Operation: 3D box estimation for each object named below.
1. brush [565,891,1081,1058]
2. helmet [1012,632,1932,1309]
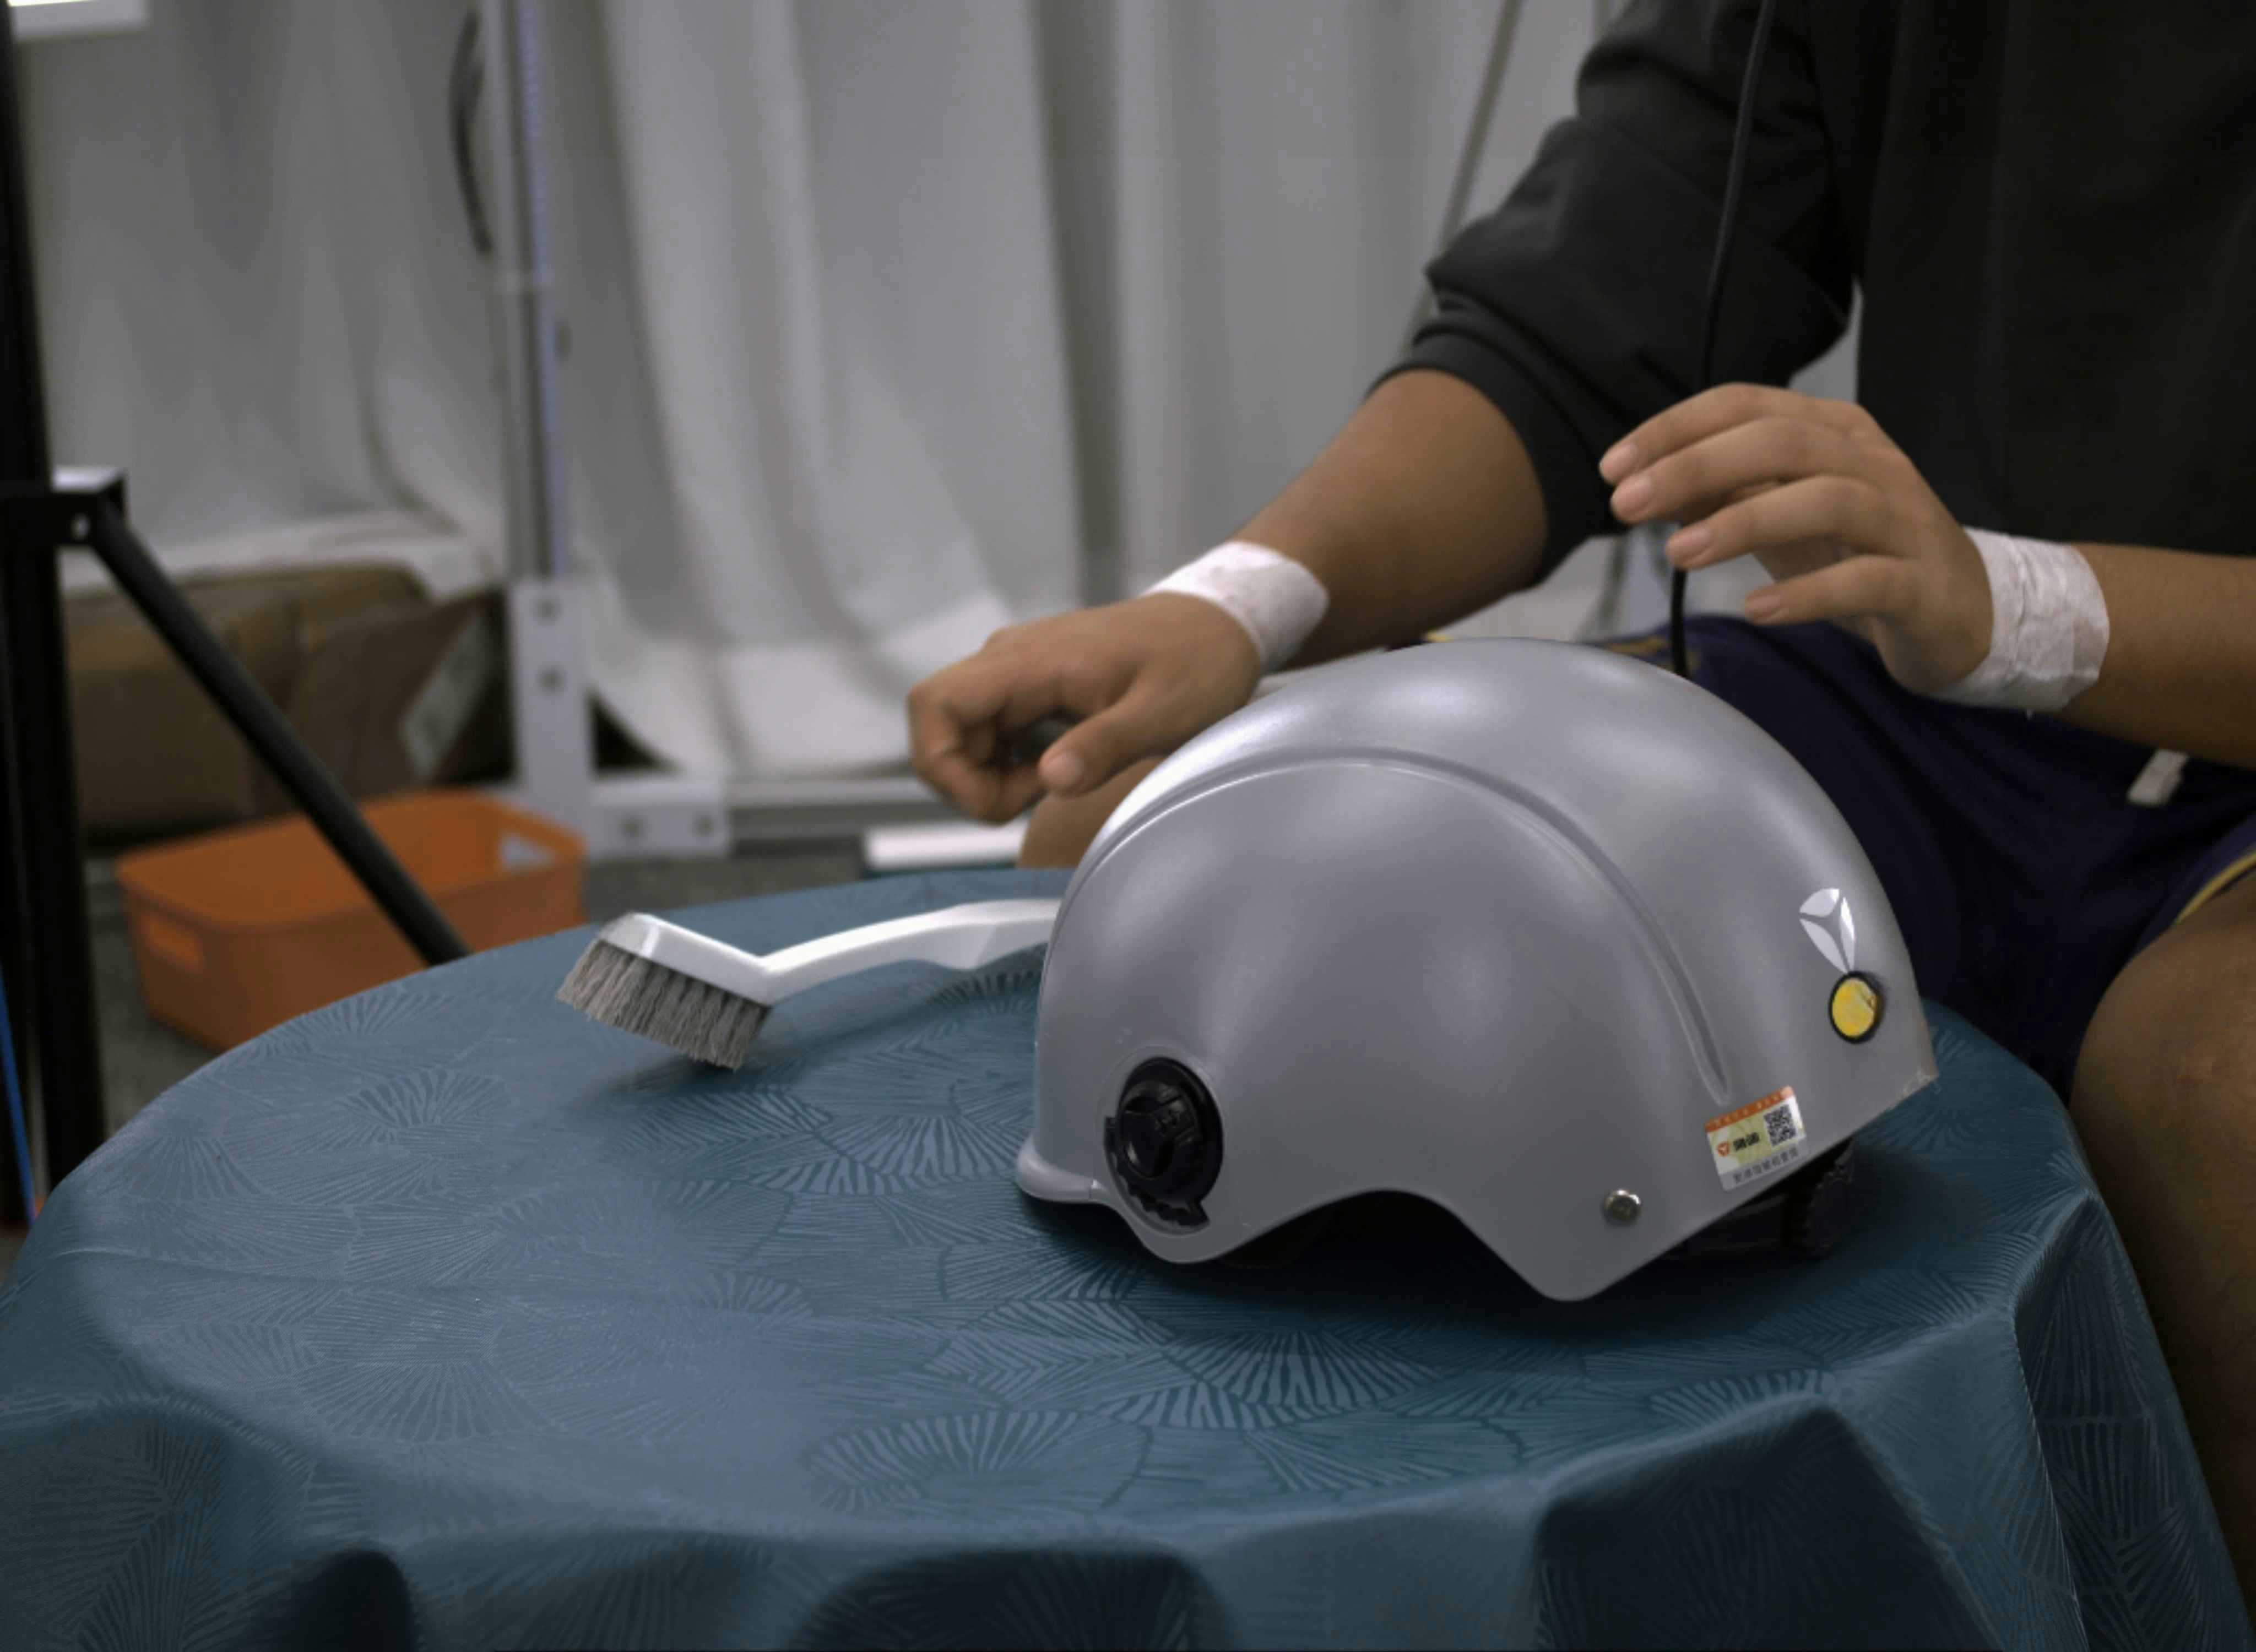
[{"bbox_3d":[-0.079,0.049,1.739,0.237,0.050,0.035,1,13,-42],"label":"brush"},{"bbox_3d":[0.092,0.029,1.525,0.282,0.169,0.227,6,17,35],"label":"helmet"}]
